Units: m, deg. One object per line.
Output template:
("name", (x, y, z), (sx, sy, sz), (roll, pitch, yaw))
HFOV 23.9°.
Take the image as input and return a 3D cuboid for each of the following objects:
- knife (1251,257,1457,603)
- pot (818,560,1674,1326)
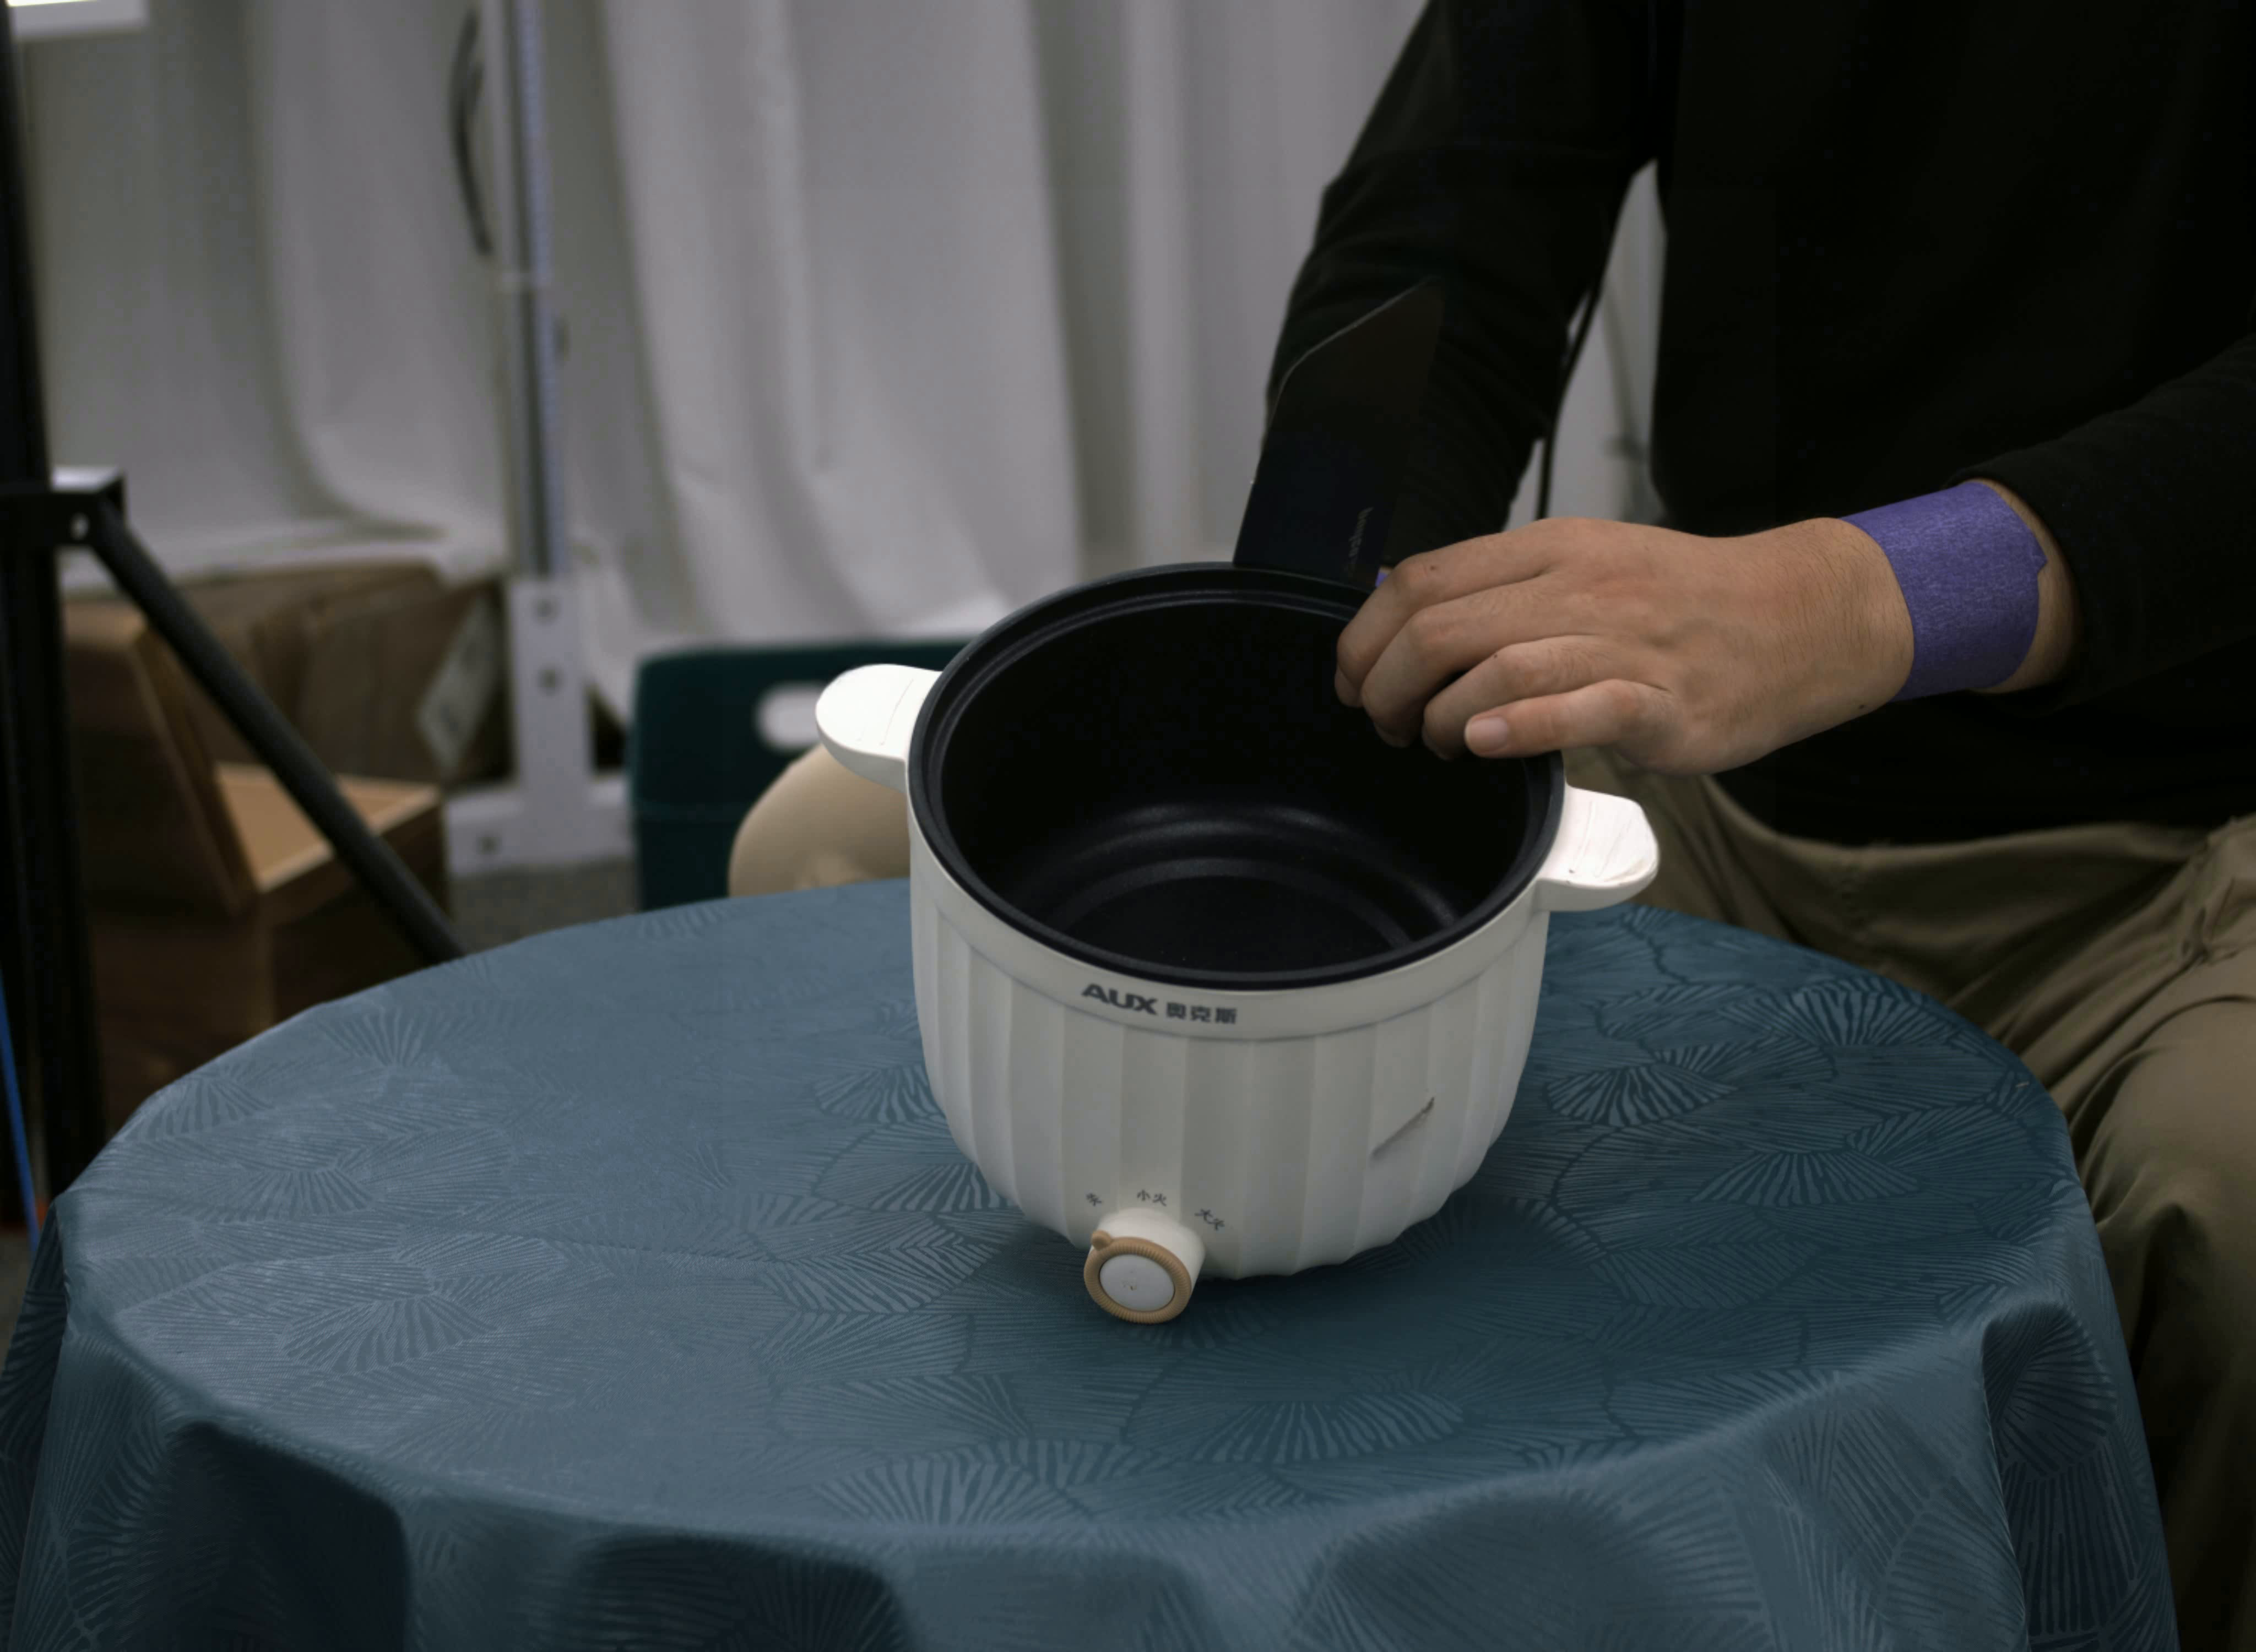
("knife", (0.056, -0.065, 1.587), (0.080, 0.301, 0.021), (-34, 67, -19))
("pot", (0.029, 0.037, 1.490), (0.242, 0.142, 0.190), (9, 37, 12))
